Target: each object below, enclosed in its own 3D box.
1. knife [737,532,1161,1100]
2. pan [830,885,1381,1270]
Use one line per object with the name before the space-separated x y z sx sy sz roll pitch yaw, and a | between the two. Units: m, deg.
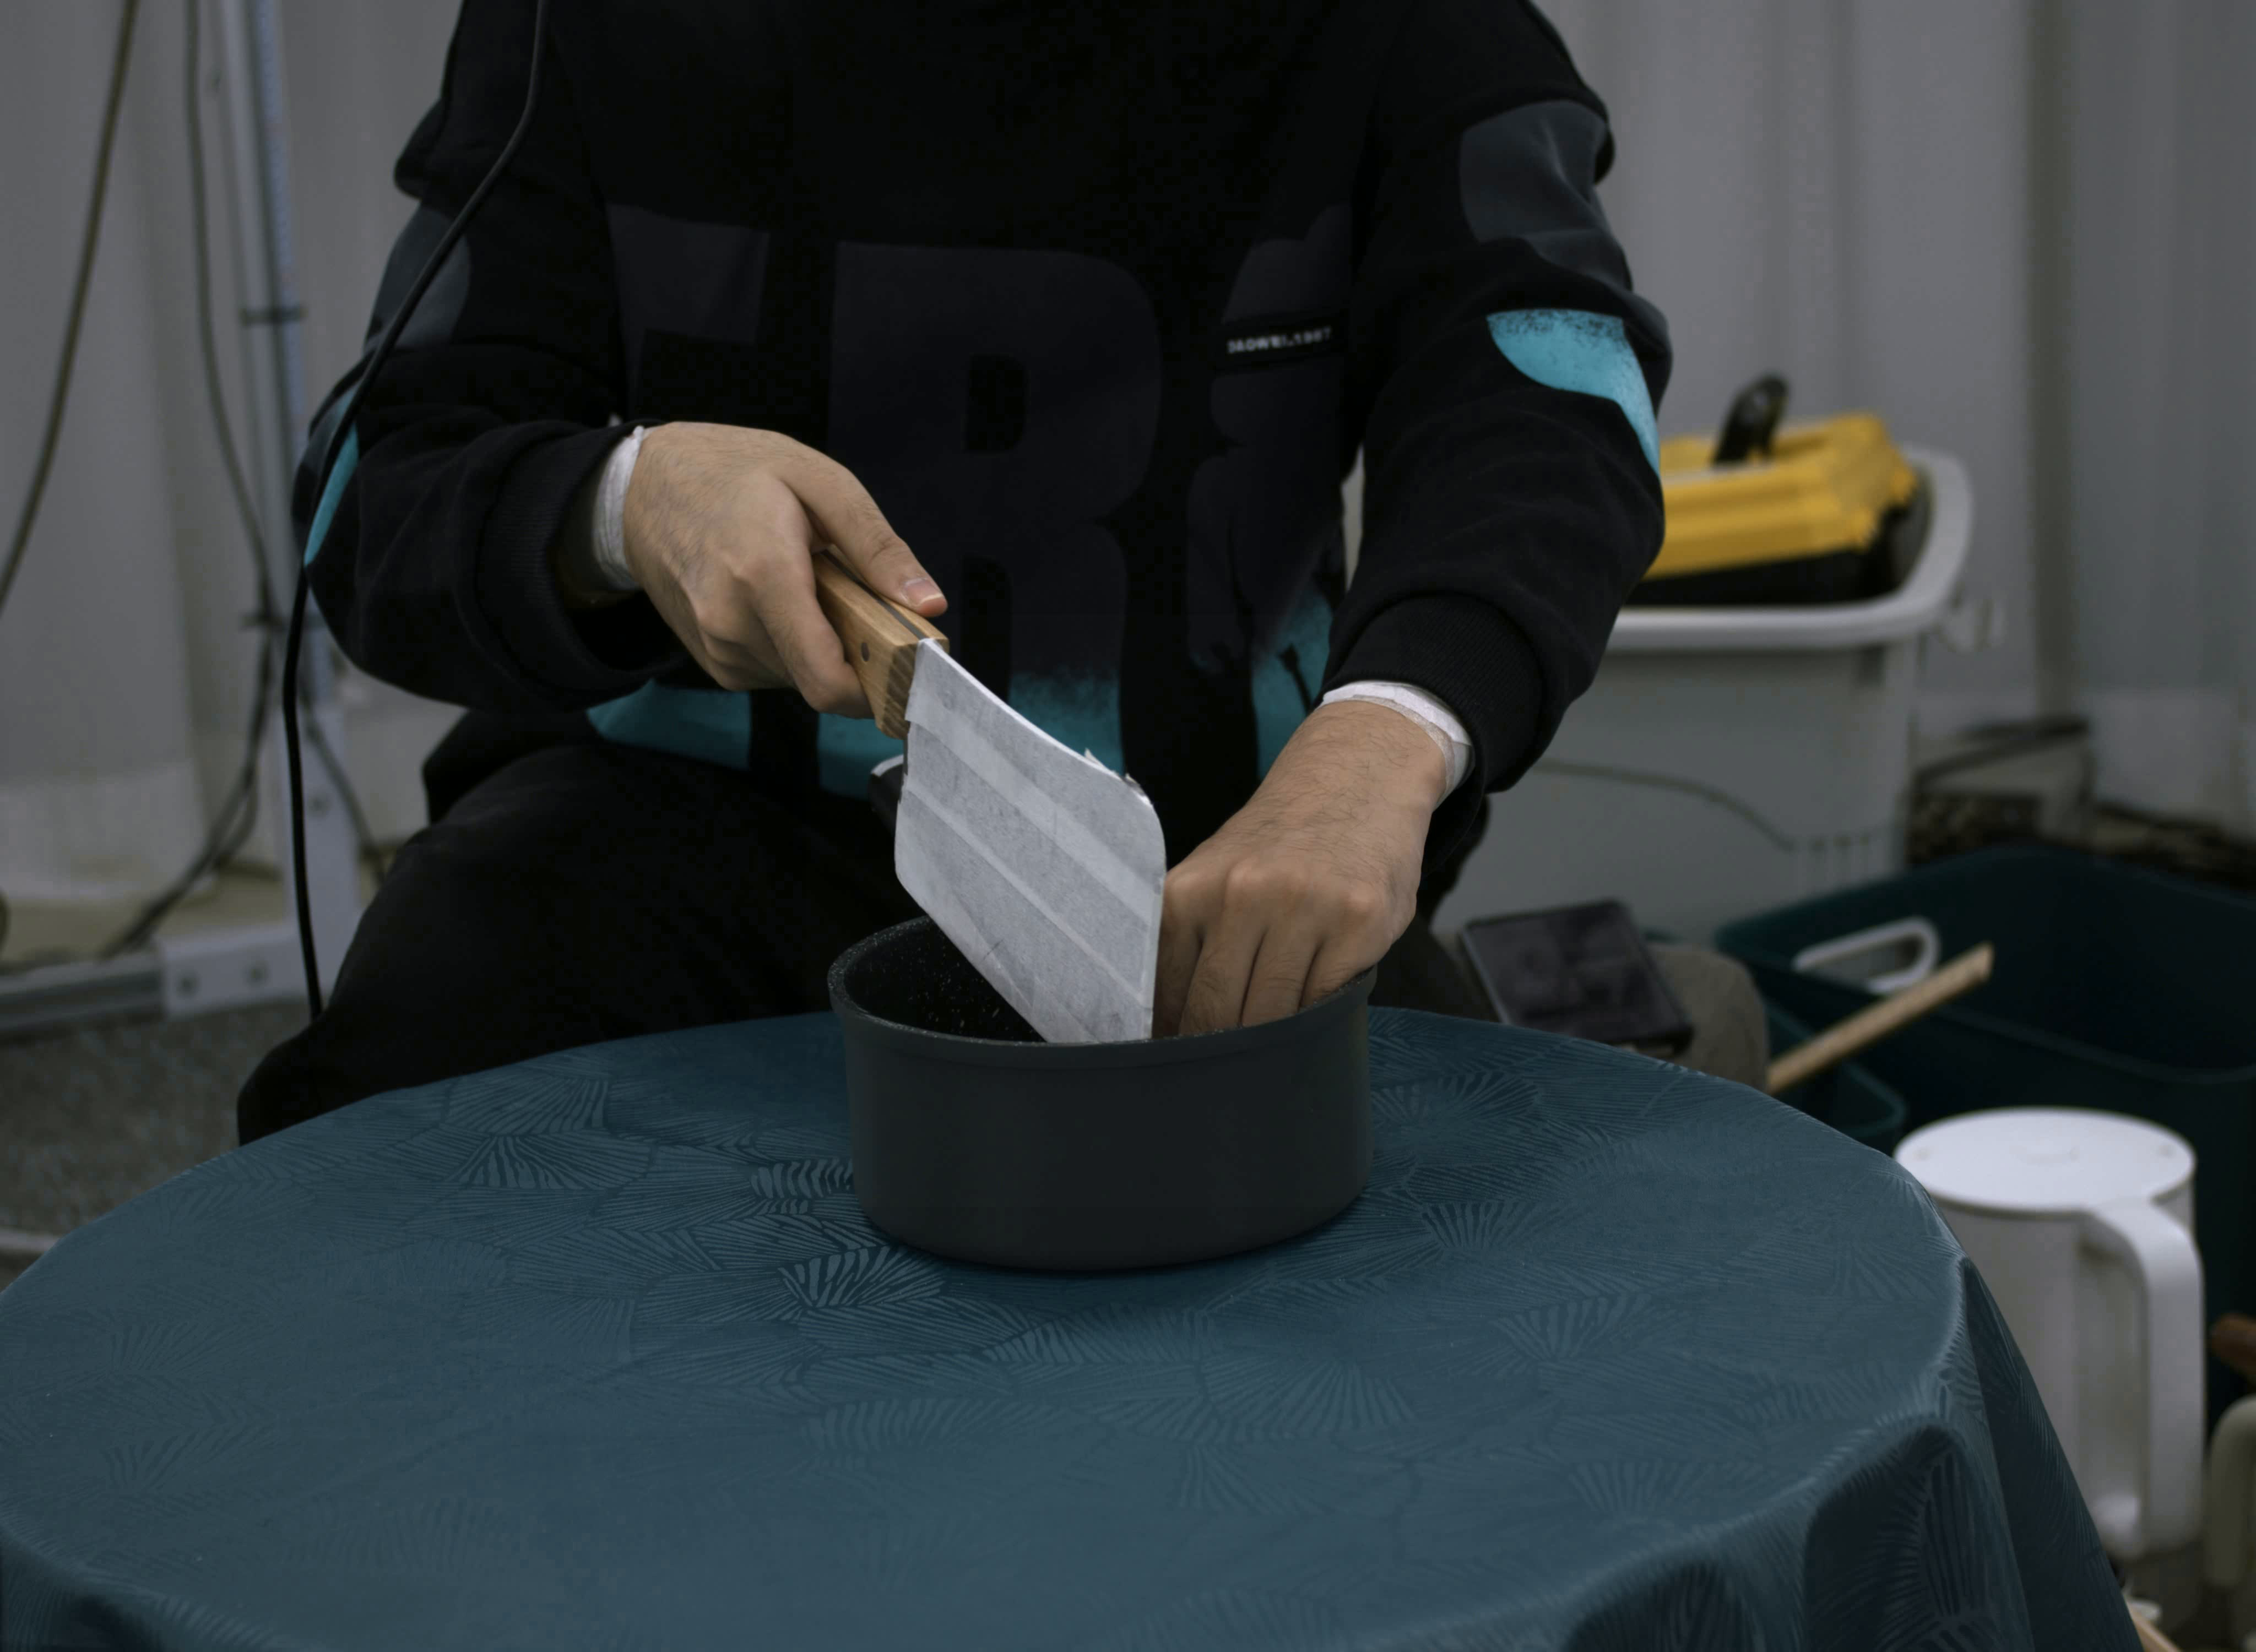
knife | -0.057 -0.021 1.736 0.021 0.113 0.319 -4 28 -26
pan | -0.025 0.056 1.778 0.171 0.086 0.331 -4 15 -13
